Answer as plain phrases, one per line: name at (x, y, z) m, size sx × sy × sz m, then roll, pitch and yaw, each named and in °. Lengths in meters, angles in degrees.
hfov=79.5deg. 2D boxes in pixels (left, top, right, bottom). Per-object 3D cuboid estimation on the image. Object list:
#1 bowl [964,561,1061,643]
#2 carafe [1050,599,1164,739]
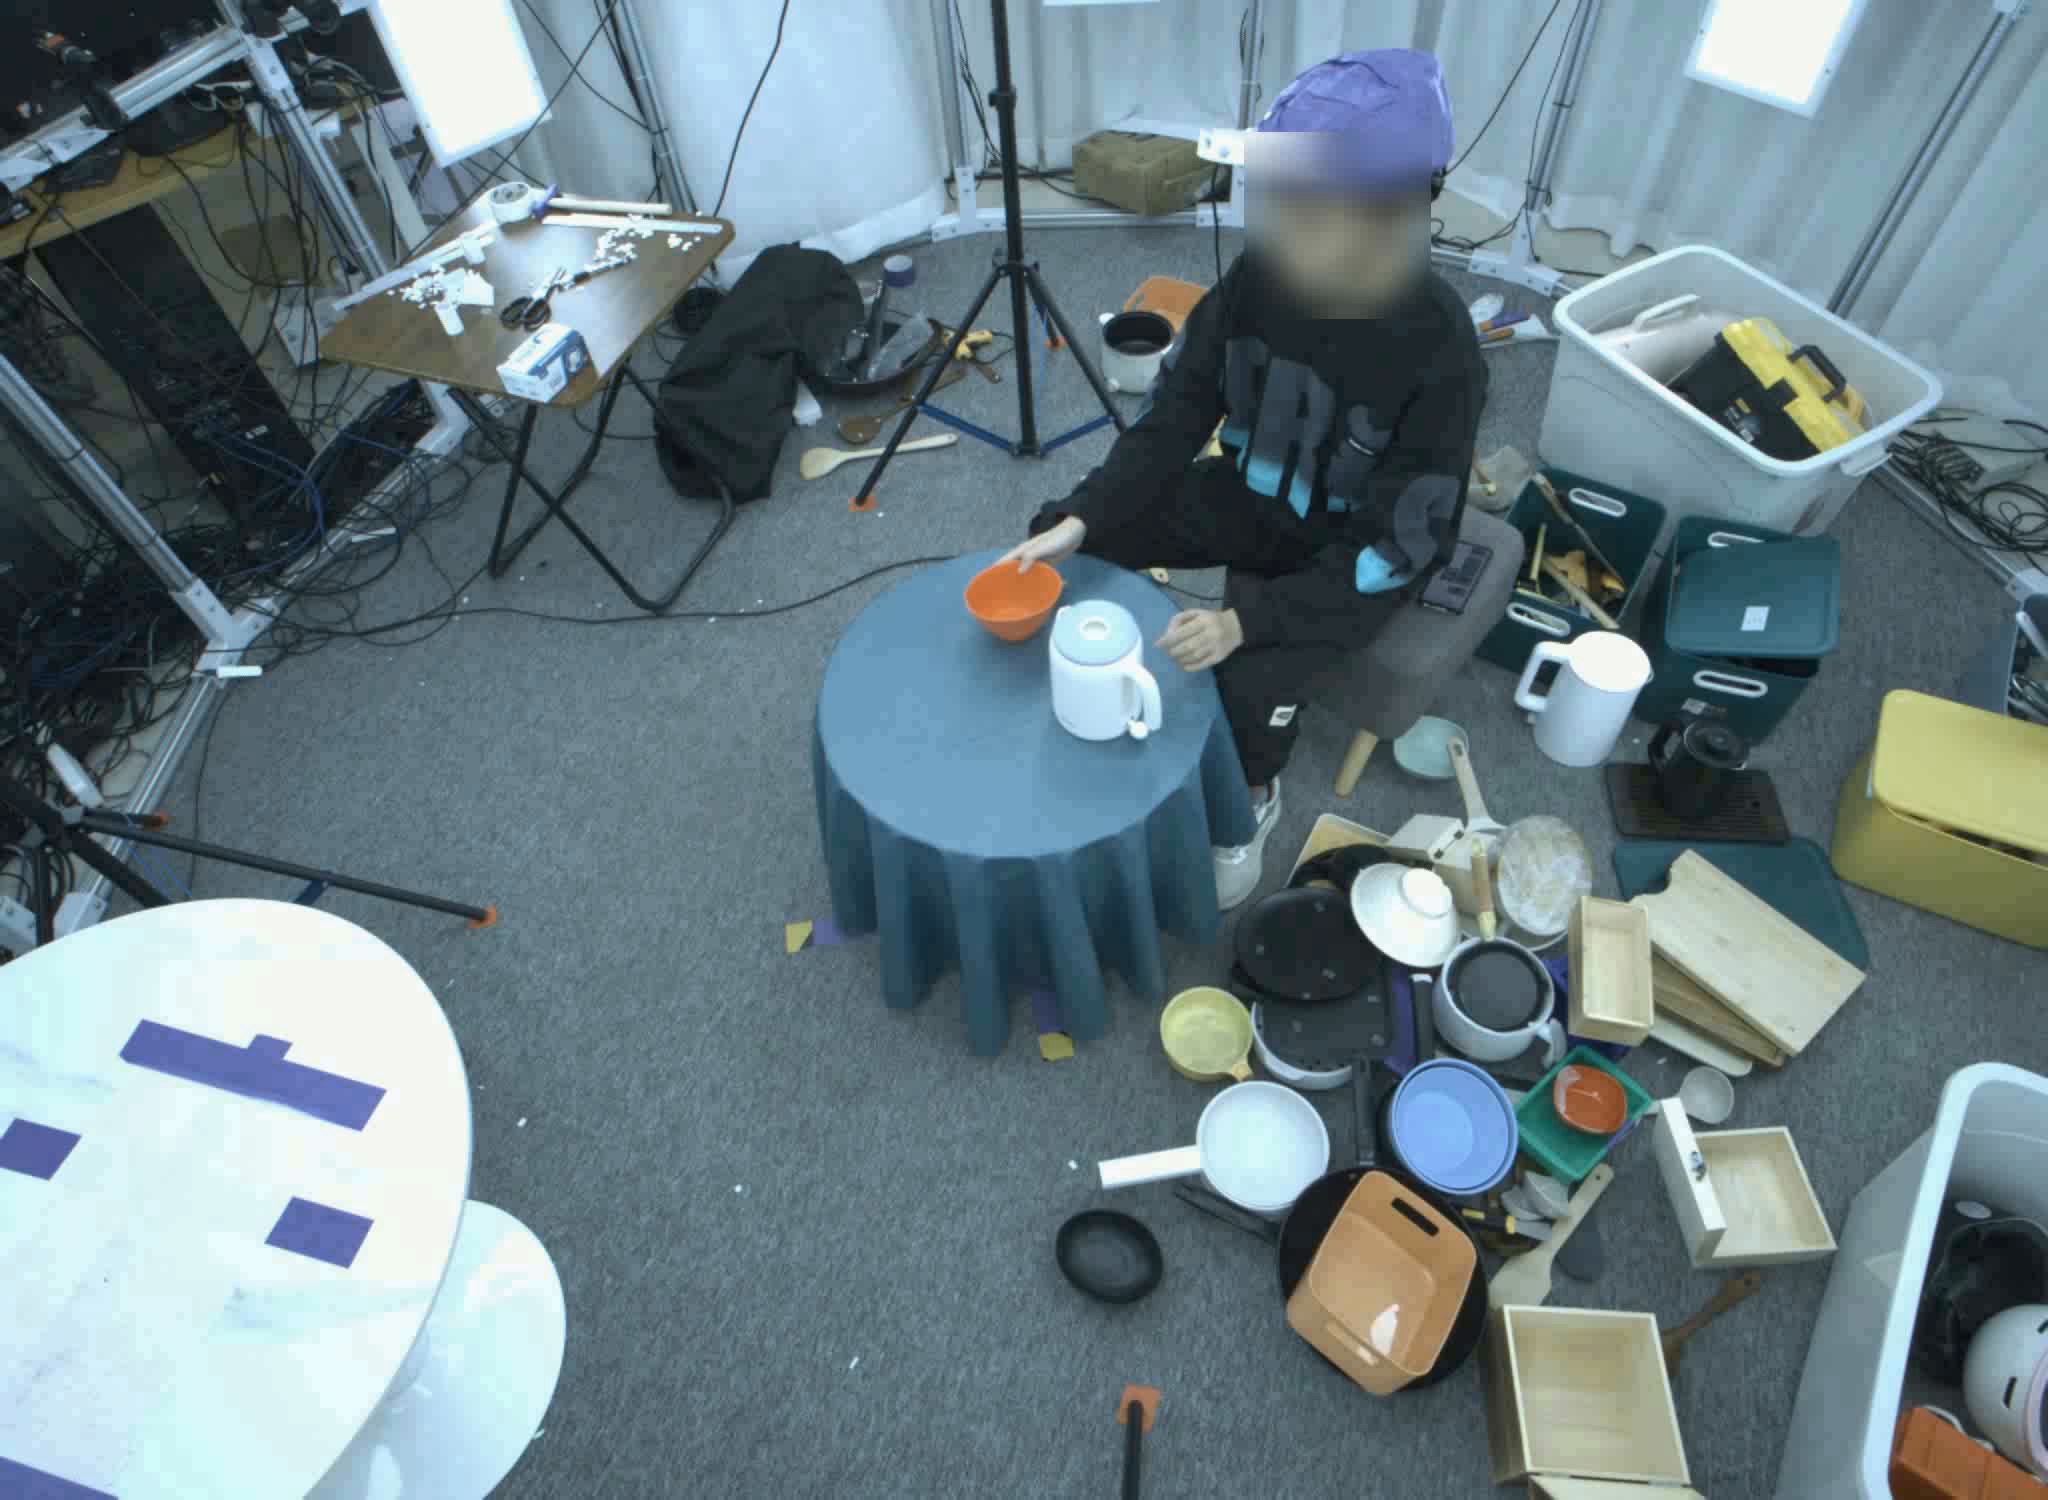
bowl at (-0.016, -0.214, 1.874) m, size 0.148 × 0.106 × 0.146 m, roll -1°, pitch 54°, yaw 2°
carafe at (0.122, -0.101, 1.745) m, size 0.188 × 0.184 × 0.133 m, roll 37°, pitch 66°, yaw 23°
